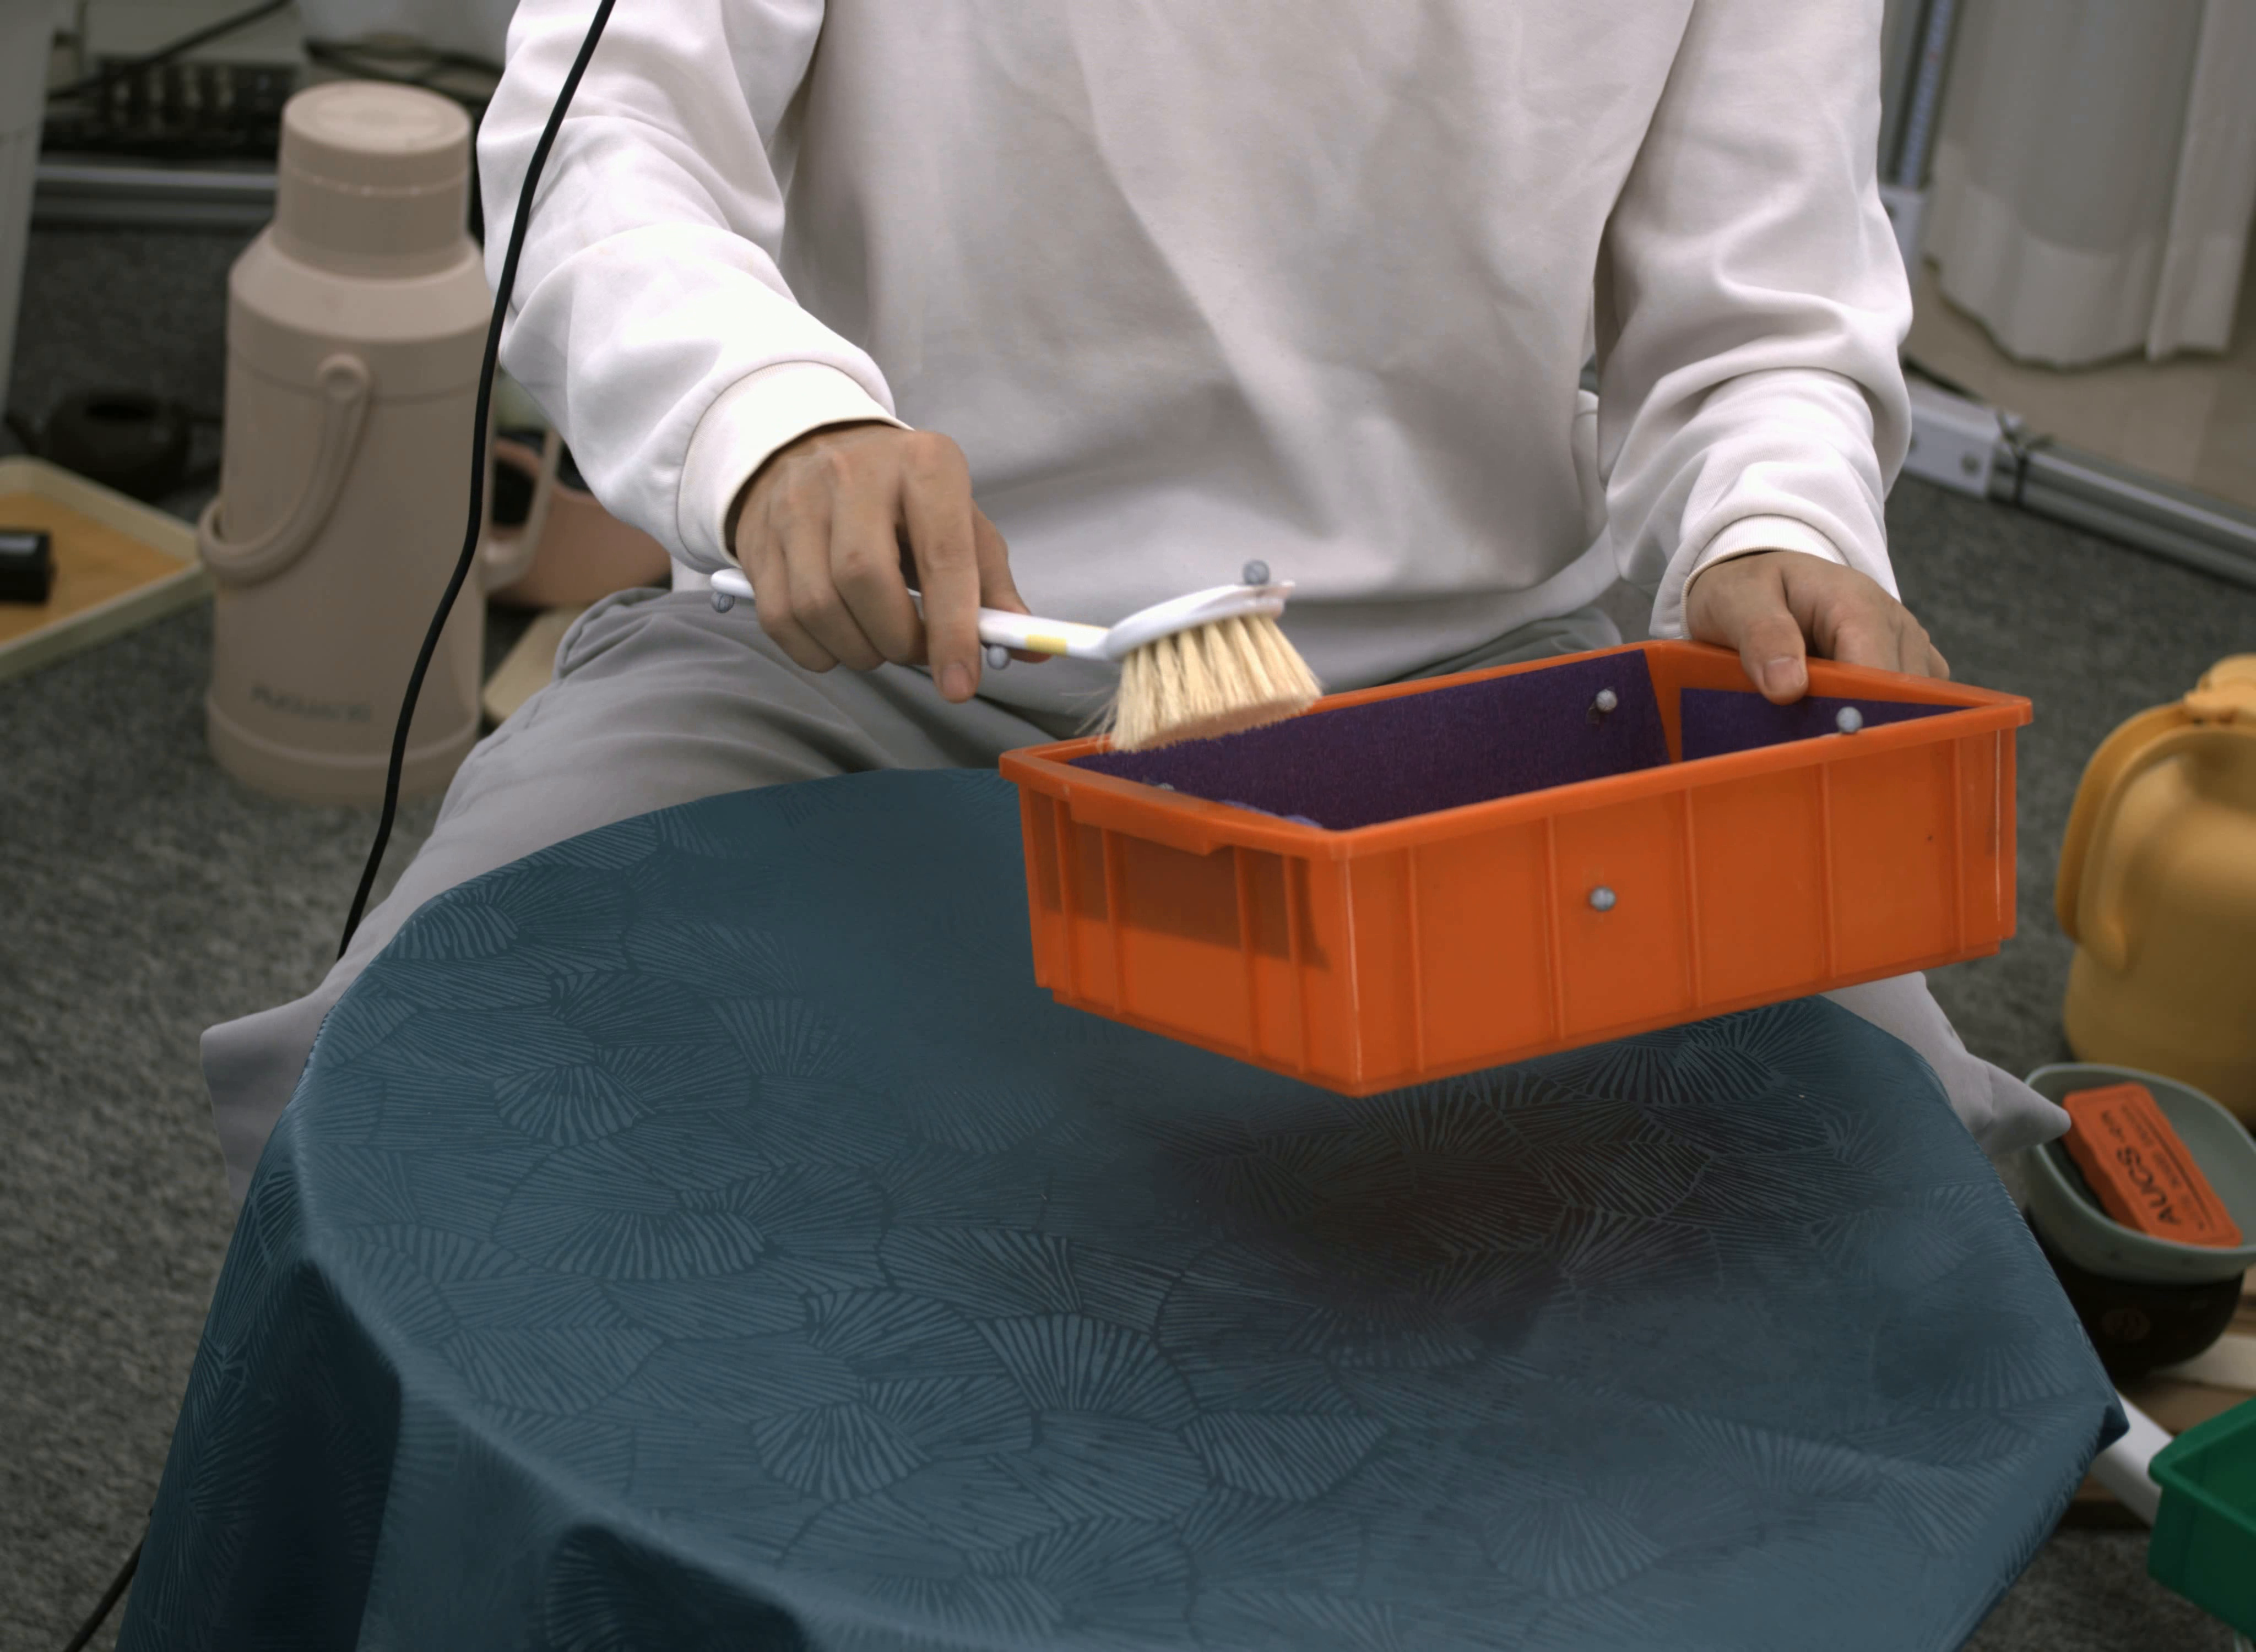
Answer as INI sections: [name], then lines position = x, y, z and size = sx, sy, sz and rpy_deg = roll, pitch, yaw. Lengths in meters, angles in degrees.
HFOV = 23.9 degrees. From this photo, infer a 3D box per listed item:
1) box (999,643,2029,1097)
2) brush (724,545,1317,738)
[box]
position = 0.131, 0.011, 1.799
size = 0.301, 0.096, 0.208
rpy_deg = -8, 11, -30
[brush]
position = -0.043, -0.055, 1.791
size = 0.268, 0.056, 0.068
rpy_deg = -3, -9, 44
